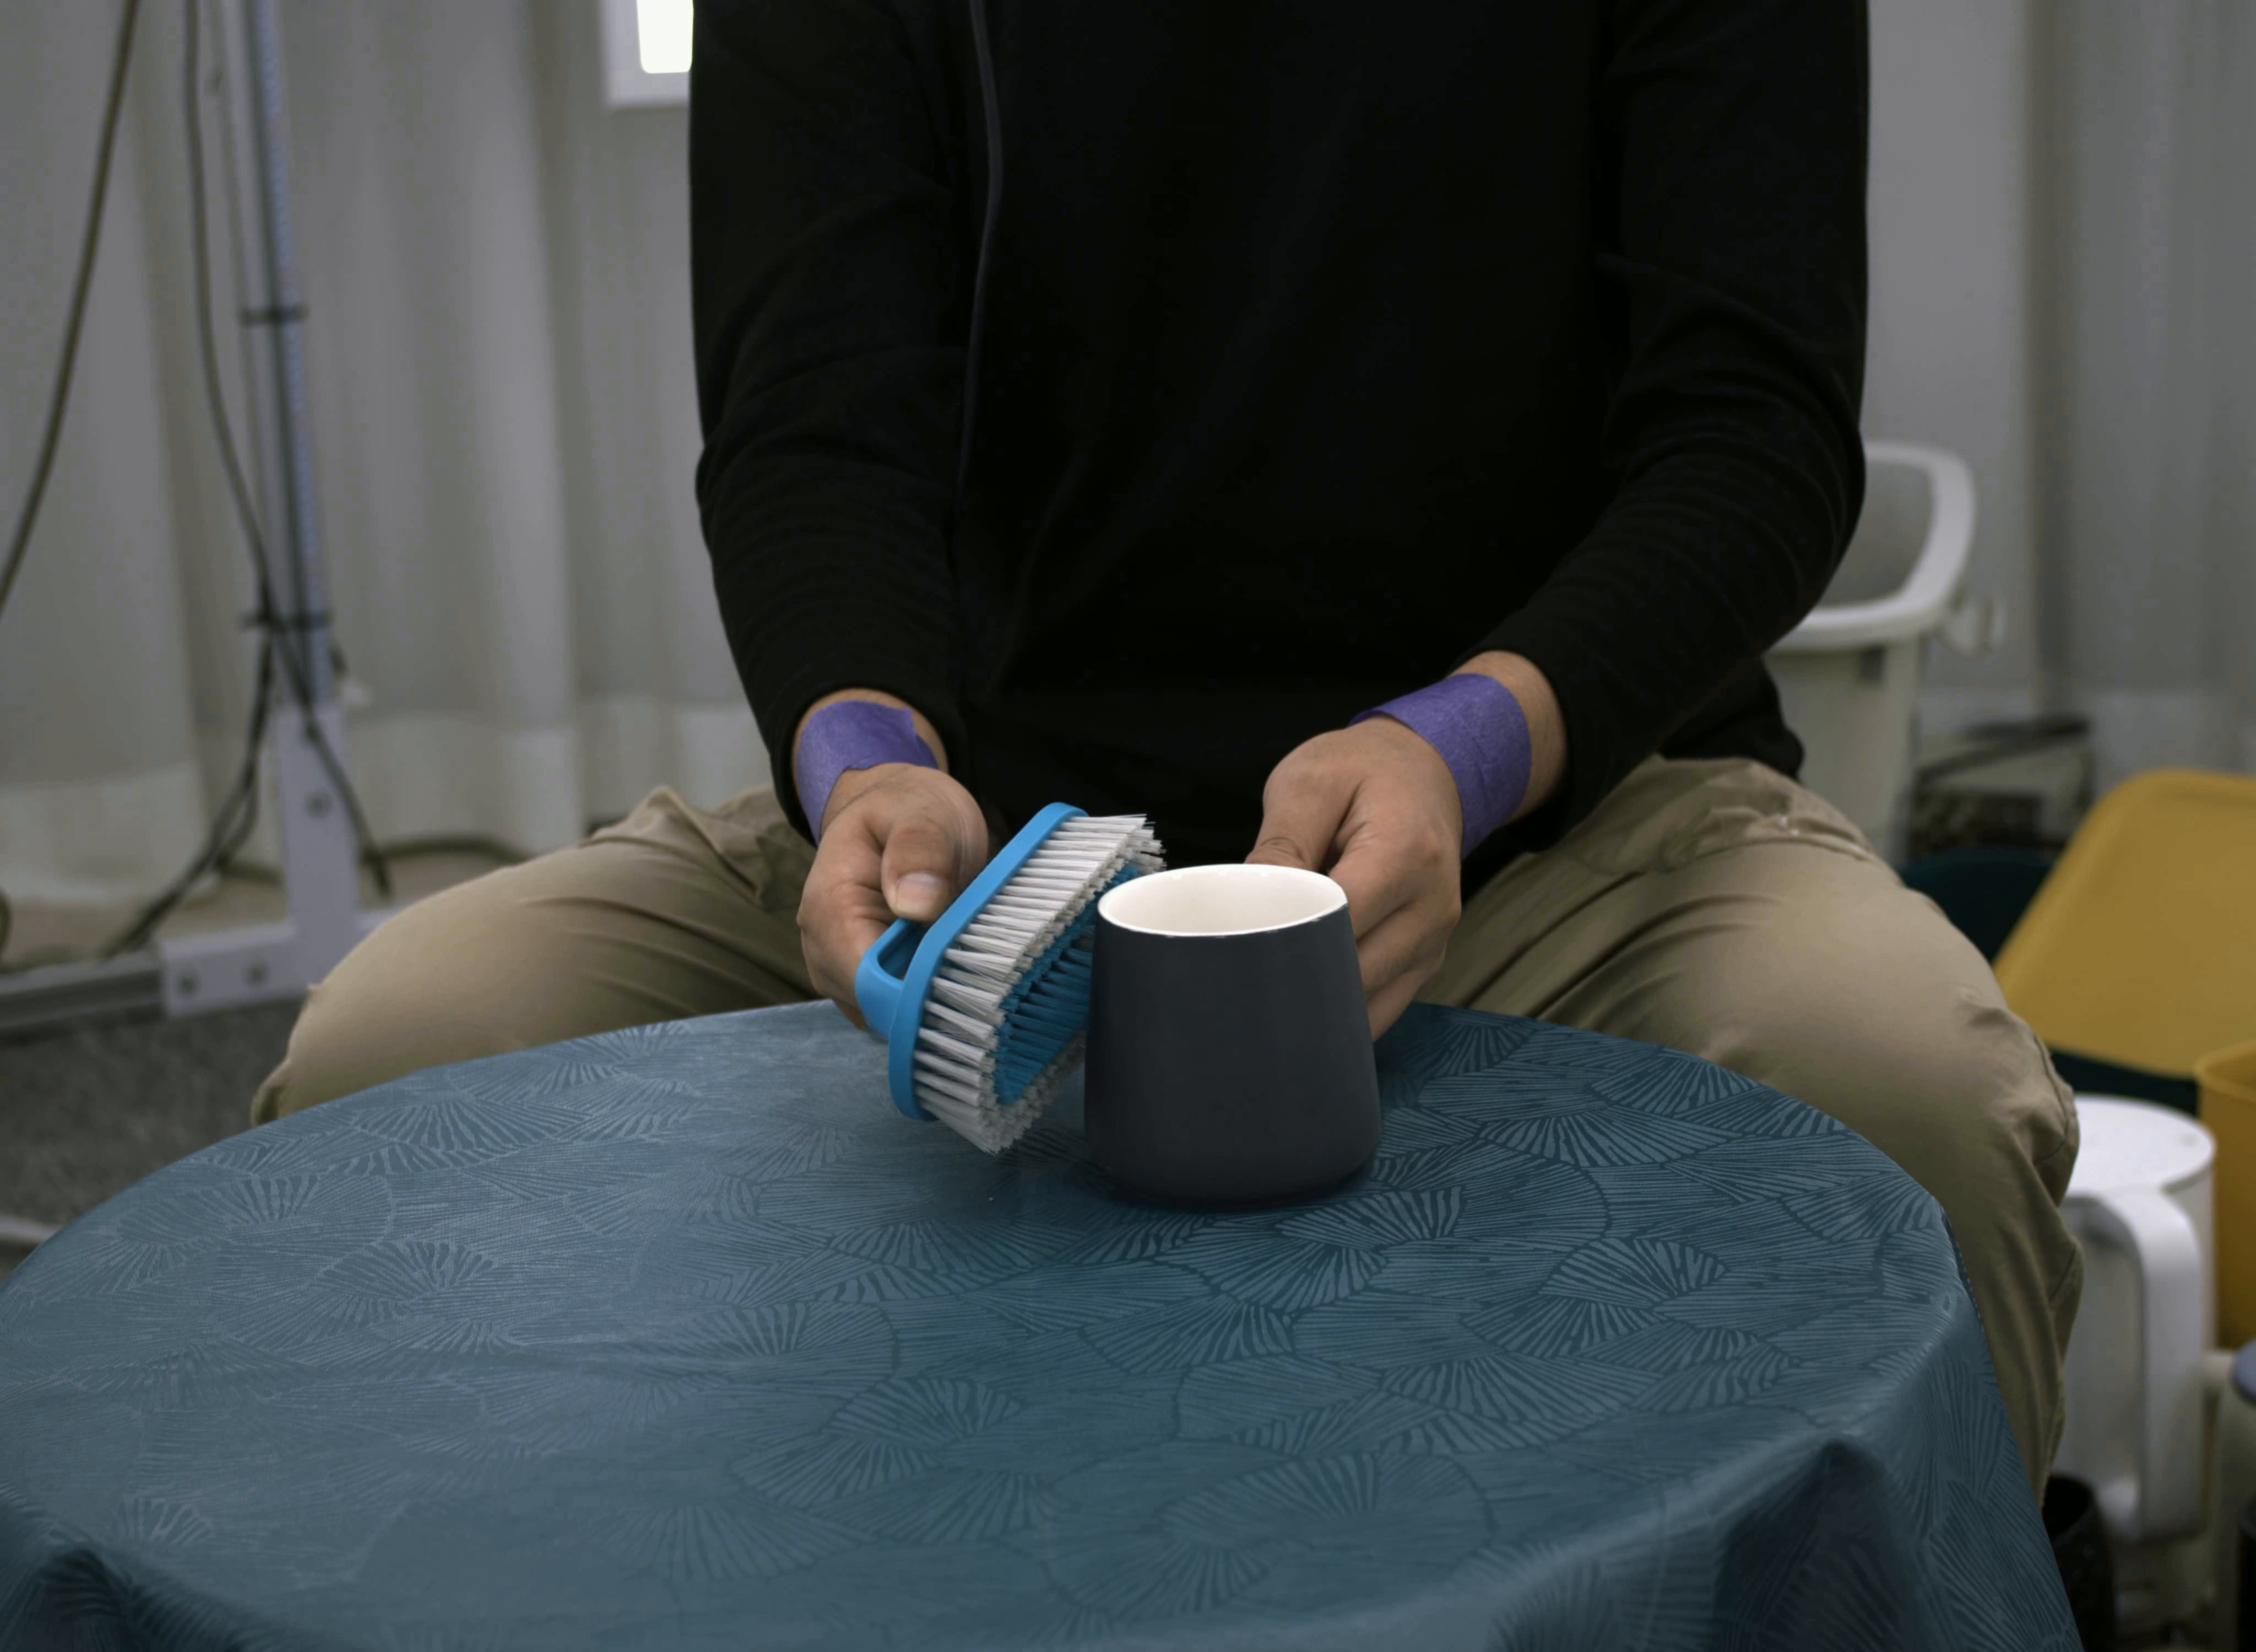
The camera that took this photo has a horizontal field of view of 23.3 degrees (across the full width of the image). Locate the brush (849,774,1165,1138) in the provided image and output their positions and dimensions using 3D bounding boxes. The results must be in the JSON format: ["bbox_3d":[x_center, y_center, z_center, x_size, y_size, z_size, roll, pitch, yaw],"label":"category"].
[{"bbox_3d":[-0.046,0.037,1.729,0.064,0.083,0.143,14,34,22],"label":"brush"}]

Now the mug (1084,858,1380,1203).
[{"bbox_3d":[0.035,0.060,1.732,0.093,0.089,0.124,1,17,14],"label":"mug"}]
